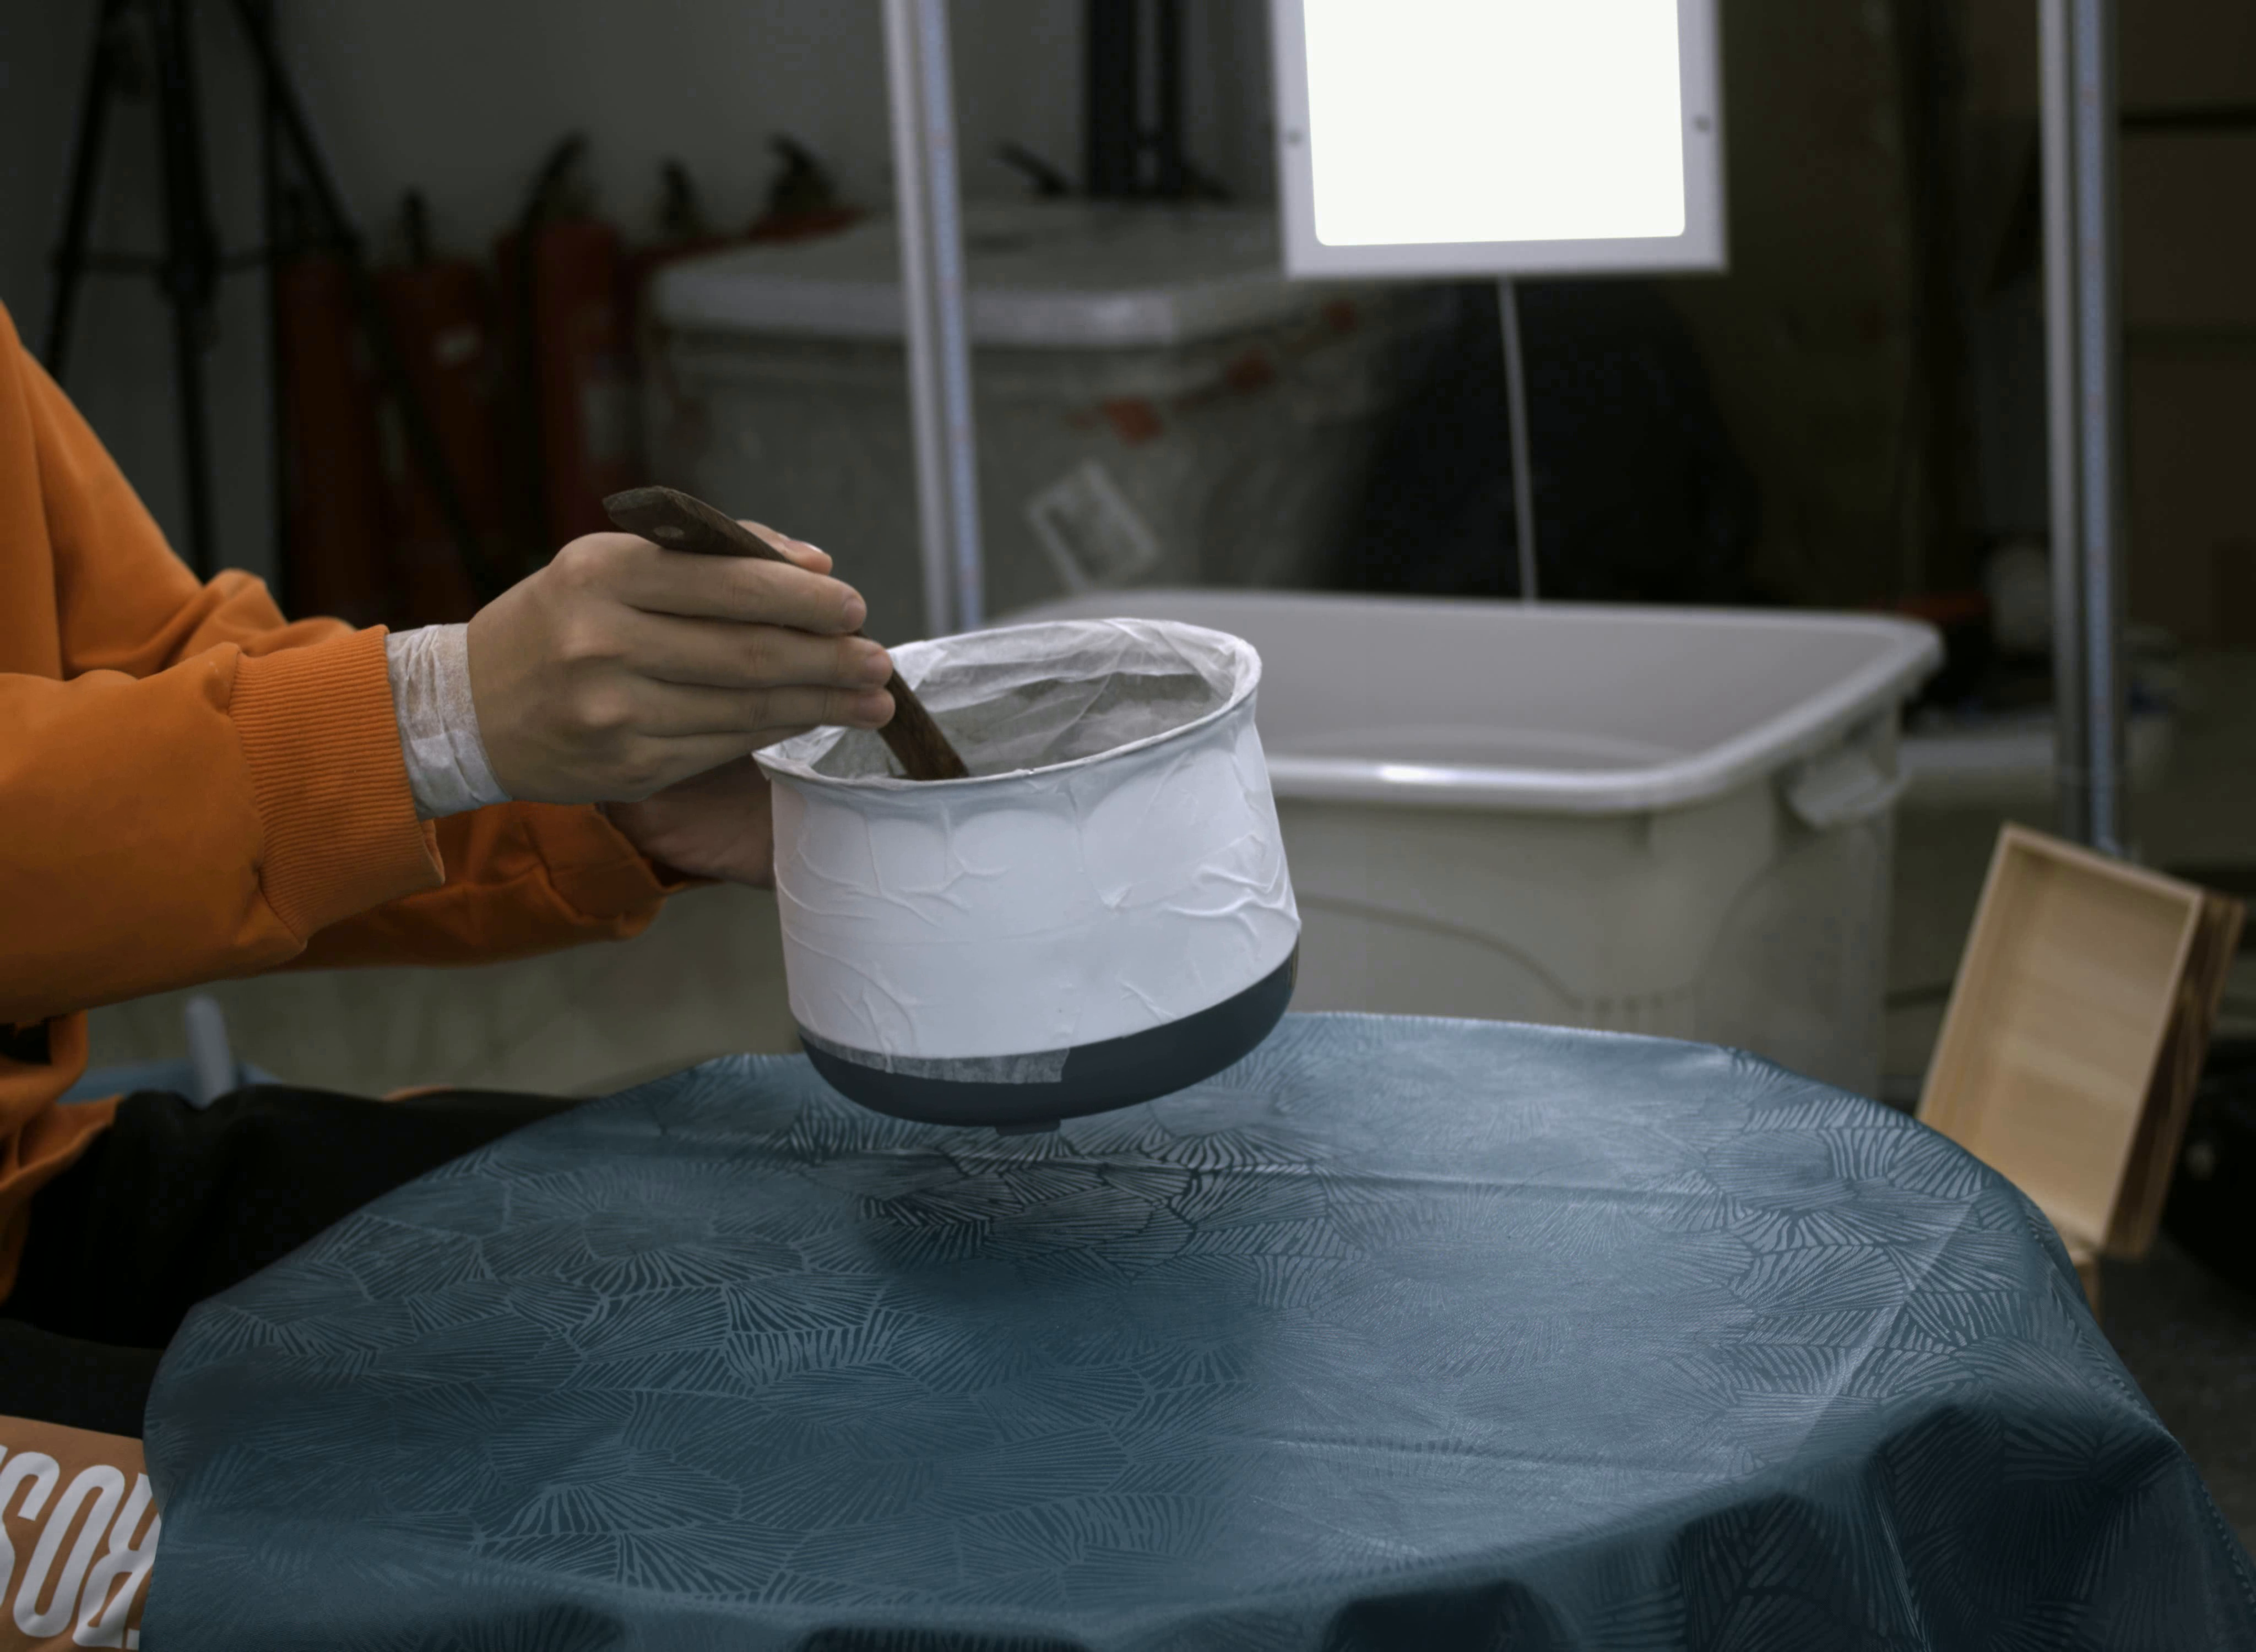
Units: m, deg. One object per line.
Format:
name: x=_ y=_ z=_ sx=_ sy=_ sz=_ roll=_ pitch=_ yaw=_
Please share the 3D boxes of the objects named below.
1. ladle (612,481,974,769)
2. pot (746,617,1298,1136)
ladle: x=-0.076 y=-0.053 z=1.801 sx=0.077 sy=0.270 sz=0.071 roll=-15 pitch=47 yaw=30
pot: x=-0.051 y=0.012 z=1.899 sx=0.174 sy=0.137 sz=0.238 roll=-21 pitch=21 yaw=-34
